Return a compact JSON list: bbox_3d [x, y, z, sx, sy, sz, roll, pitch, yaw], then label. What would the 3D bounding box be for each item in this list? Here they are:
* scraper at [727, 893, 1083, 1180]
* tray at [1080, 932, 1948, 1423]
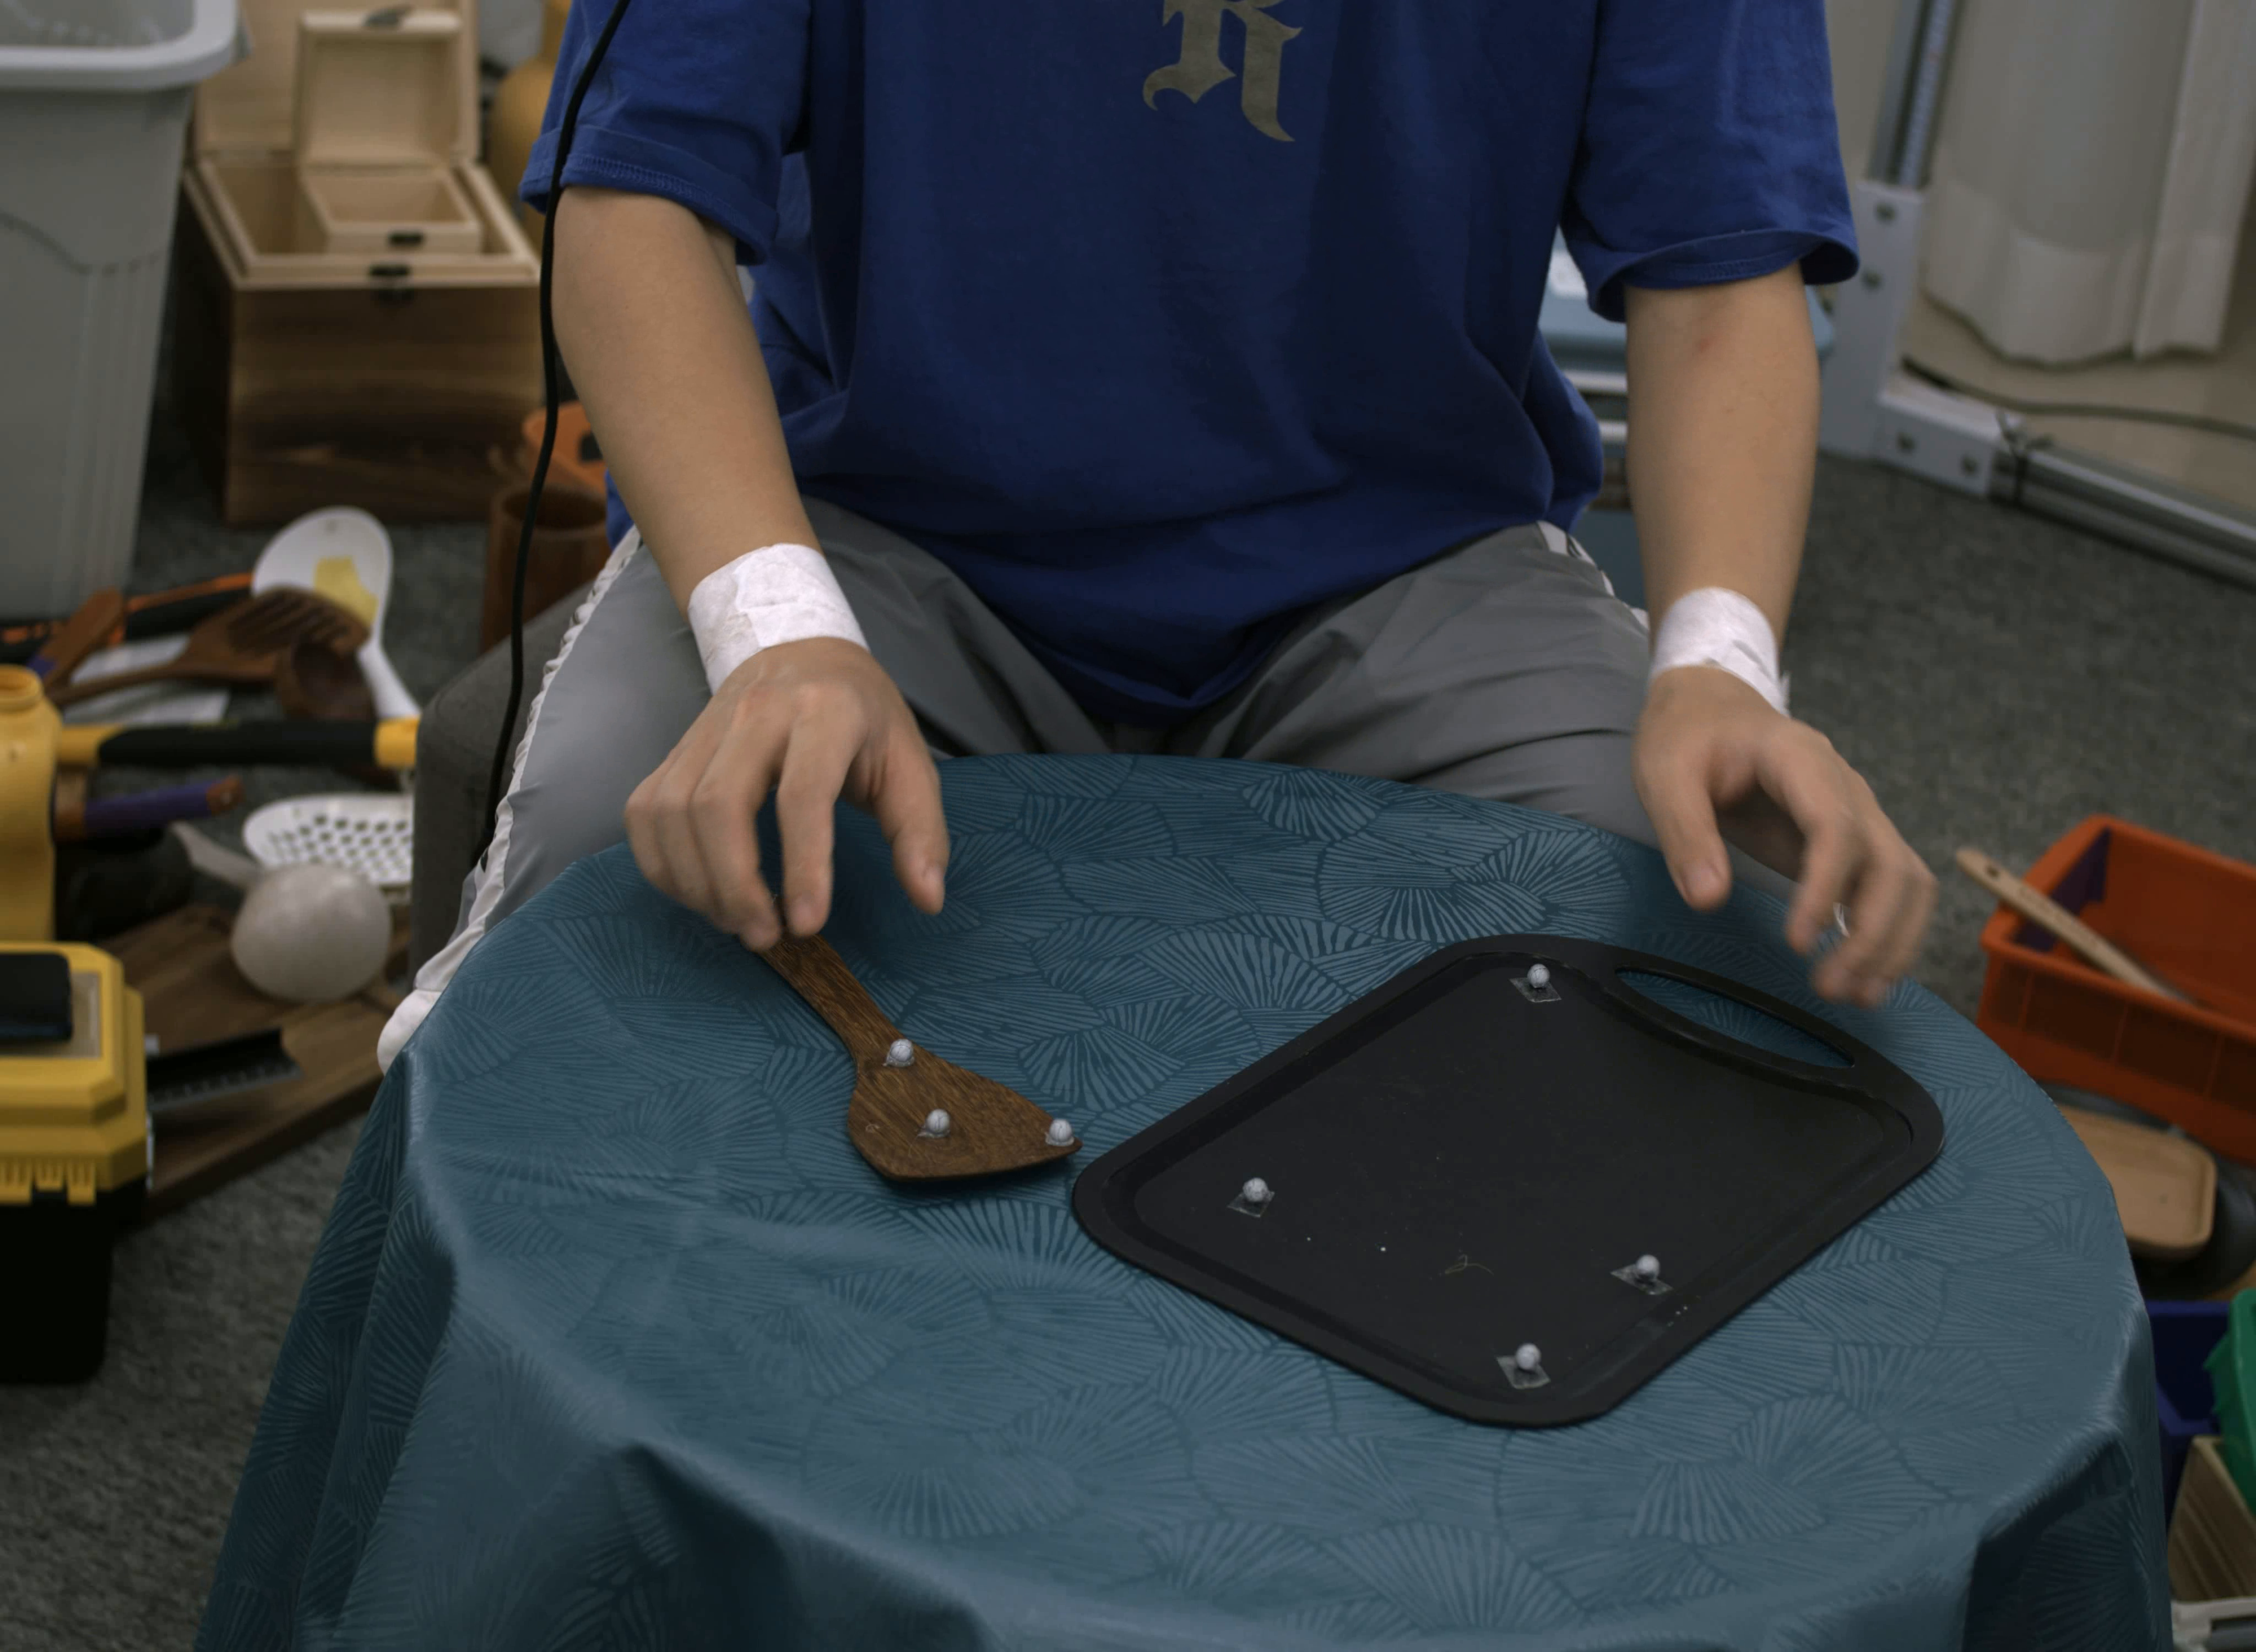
[{"bbox_3d":[-0.091,0.073,1.874,0.075,0.011,0.213,-7,29,-26],"label":"scraper"},{"bbox_3d":[0.142,0.111,1.852,0.212,0.010,0.324,23,31,30],"label":"tray"}]
